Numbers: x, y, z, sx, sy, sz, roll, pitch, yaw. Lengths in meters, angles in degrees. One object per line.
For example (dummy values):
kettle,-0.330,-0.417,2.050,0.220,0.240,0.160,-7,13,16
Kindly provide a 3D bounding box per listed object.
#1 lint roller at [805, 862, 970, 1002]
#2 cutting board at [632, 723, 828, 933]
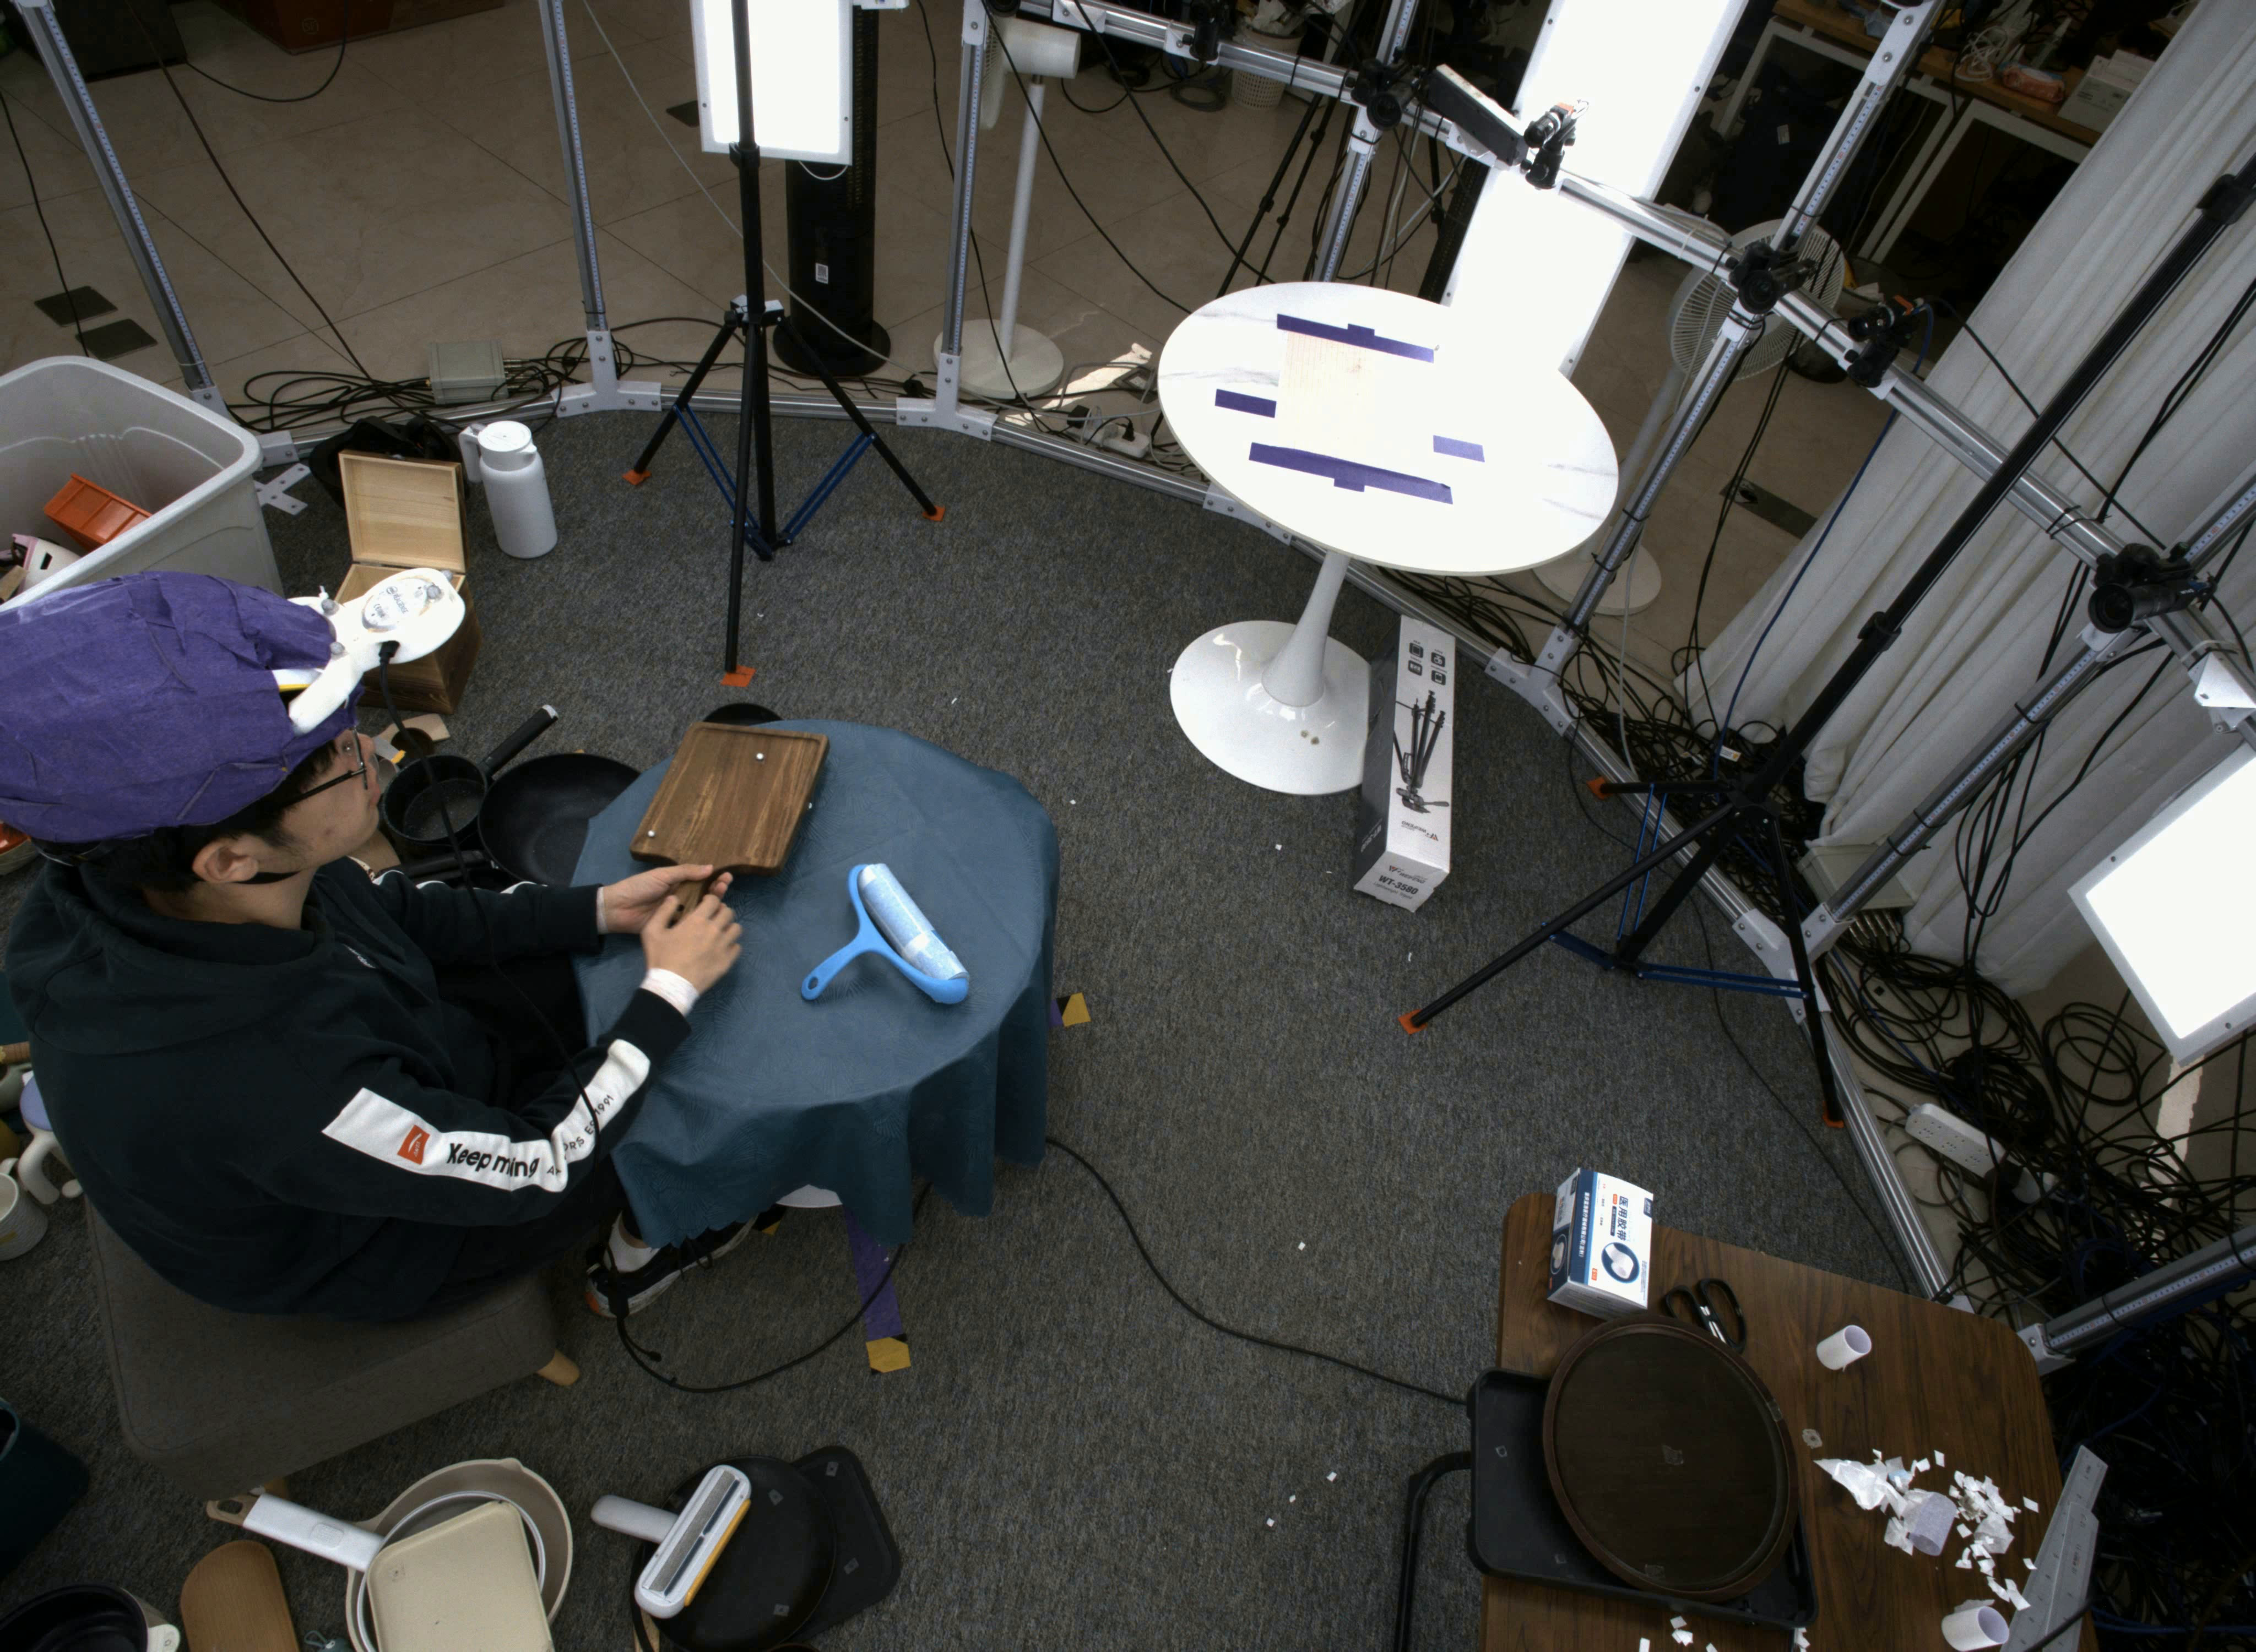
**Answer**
lint roller,-0.318,0.154,1.607,0.181,0.069,0.224,-31,68,-33
cutting board,-0.521,-0.007,1.658,0.199,0.024,0.346,6,47,0
